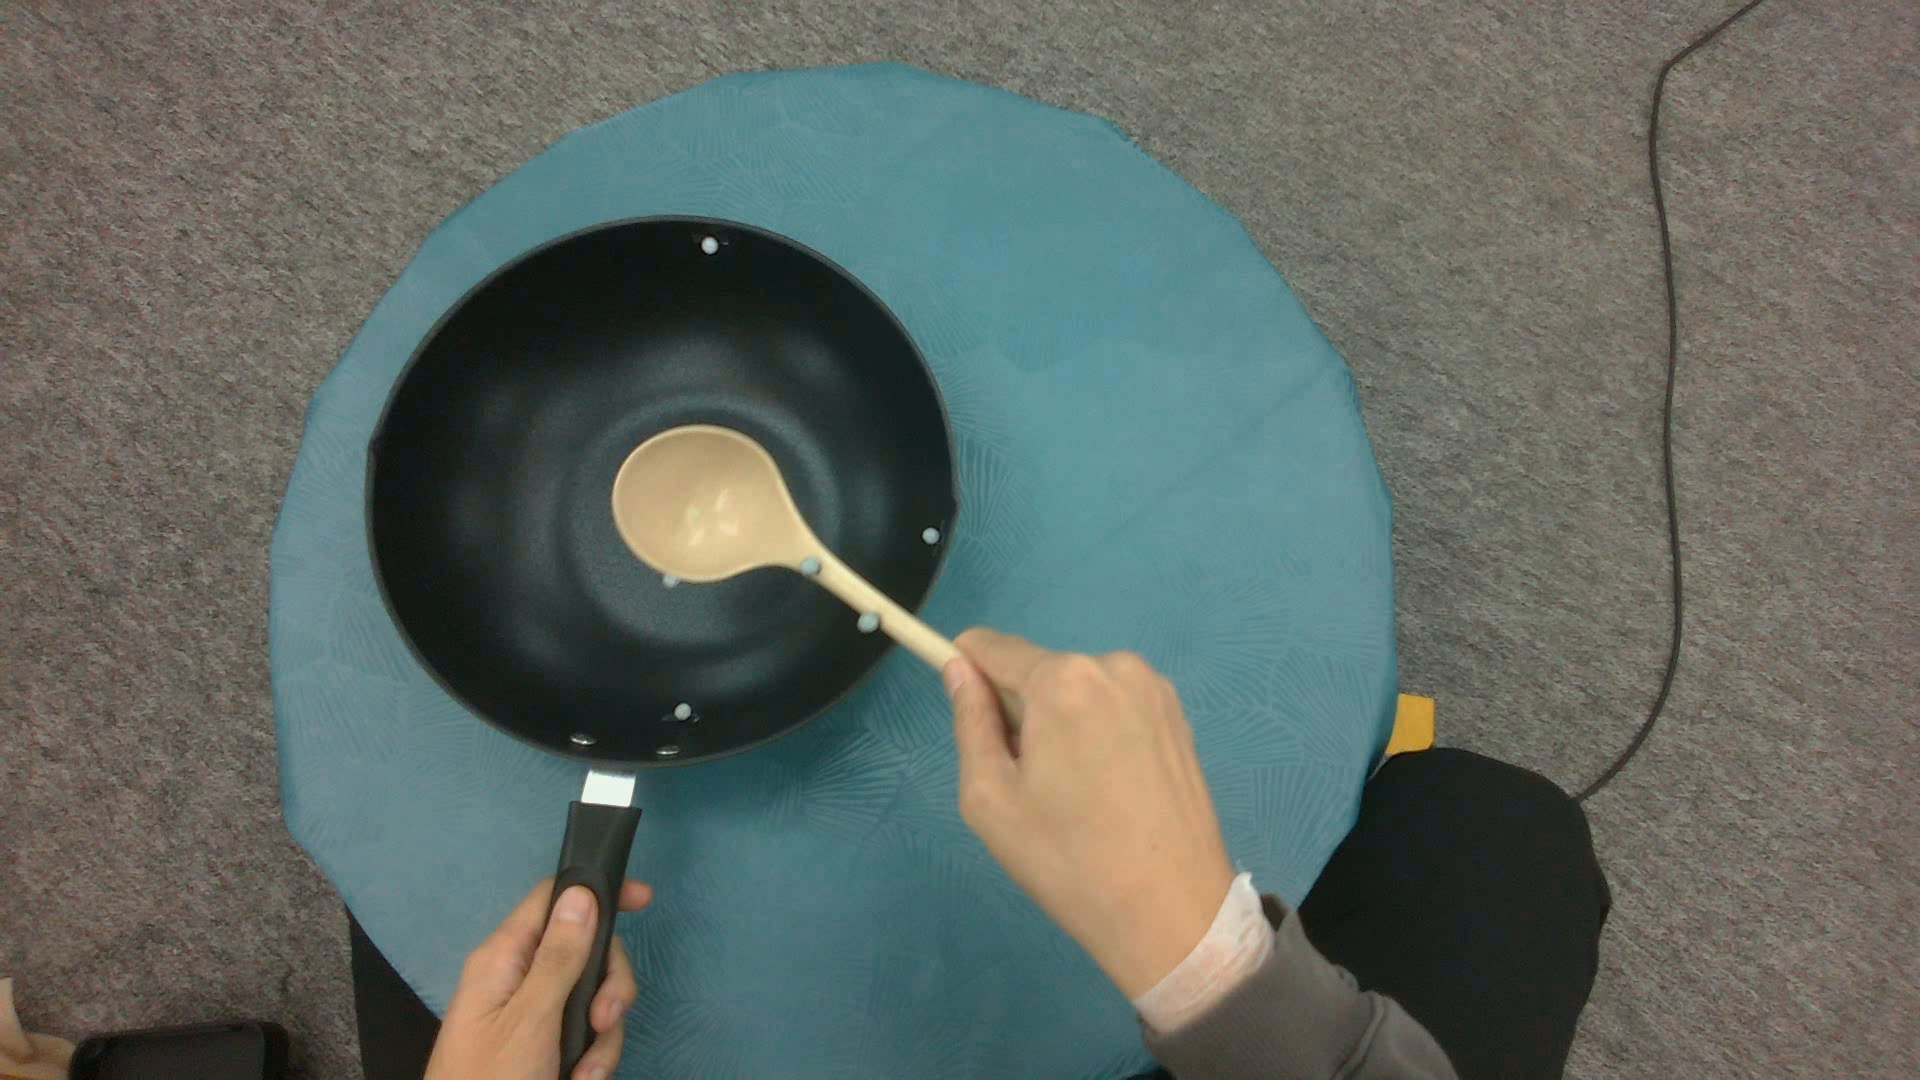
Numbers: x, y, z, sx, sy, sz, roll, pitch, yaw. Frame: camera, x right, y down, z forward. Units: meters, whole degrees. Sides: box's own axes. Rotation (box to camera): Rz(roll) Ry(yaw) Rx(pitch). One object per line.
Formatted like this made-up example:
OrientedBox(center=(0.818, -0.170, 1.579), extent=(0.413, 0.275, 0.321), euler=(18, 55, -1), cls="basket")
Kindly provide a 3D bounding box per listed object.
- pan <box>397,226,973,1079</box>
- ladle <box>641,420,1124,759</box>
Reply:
OrientedBox(center=(-0.148, 0.070, 0.692), extent=(0.288, 0.086, 0.464), euler=(7, 76, 2), cls="pan")
OrientedBox(center=(-0.044, 0.020, 0.564), extent=(0.254, 0.073, 0.072), euler=(32, 100, 42), cls="ladle")
